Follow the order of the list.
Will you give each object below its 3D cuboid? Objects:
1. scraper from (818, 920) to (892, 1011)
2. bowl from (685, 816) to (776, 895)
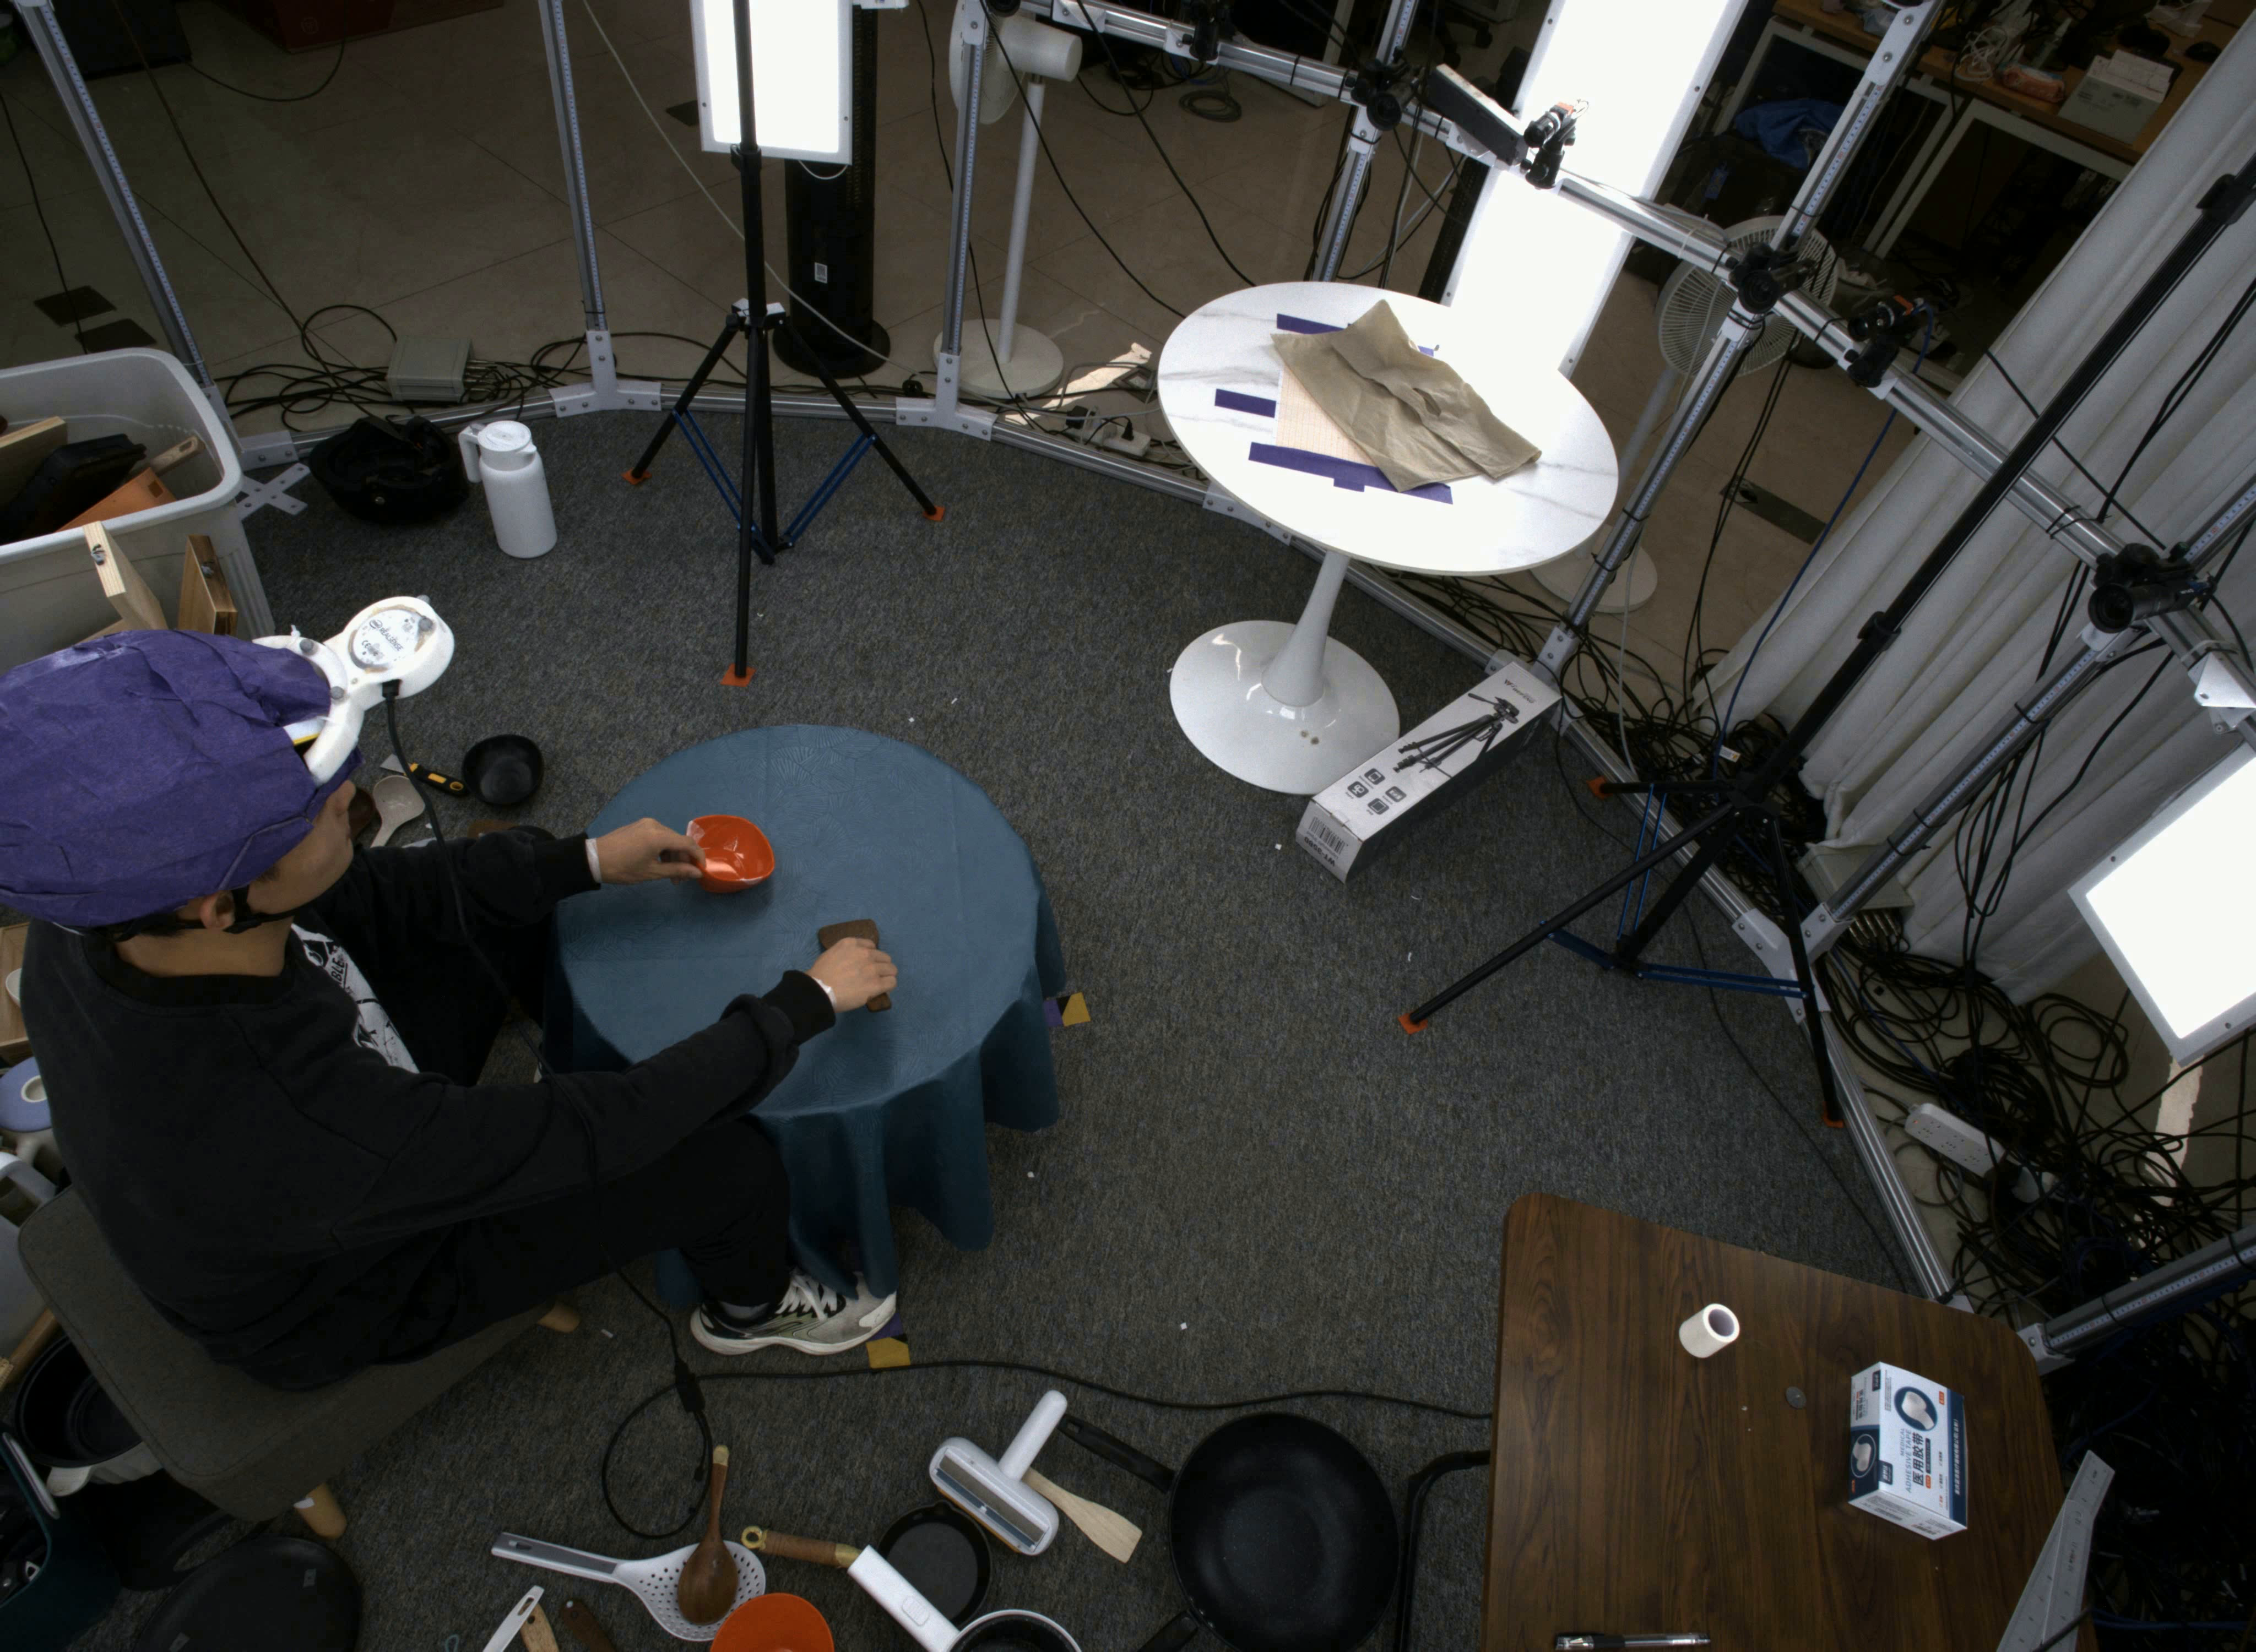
[{"bbox_3d":[-0.321,0.166,1.570,0.076,0.011,0.204,-8,27,-21],"label":"scraper"},{"bbox_3d":[-0.508,0.043,1.630,0.121,0.051,0.116,27,35,-18],"label":"bowl"}]
